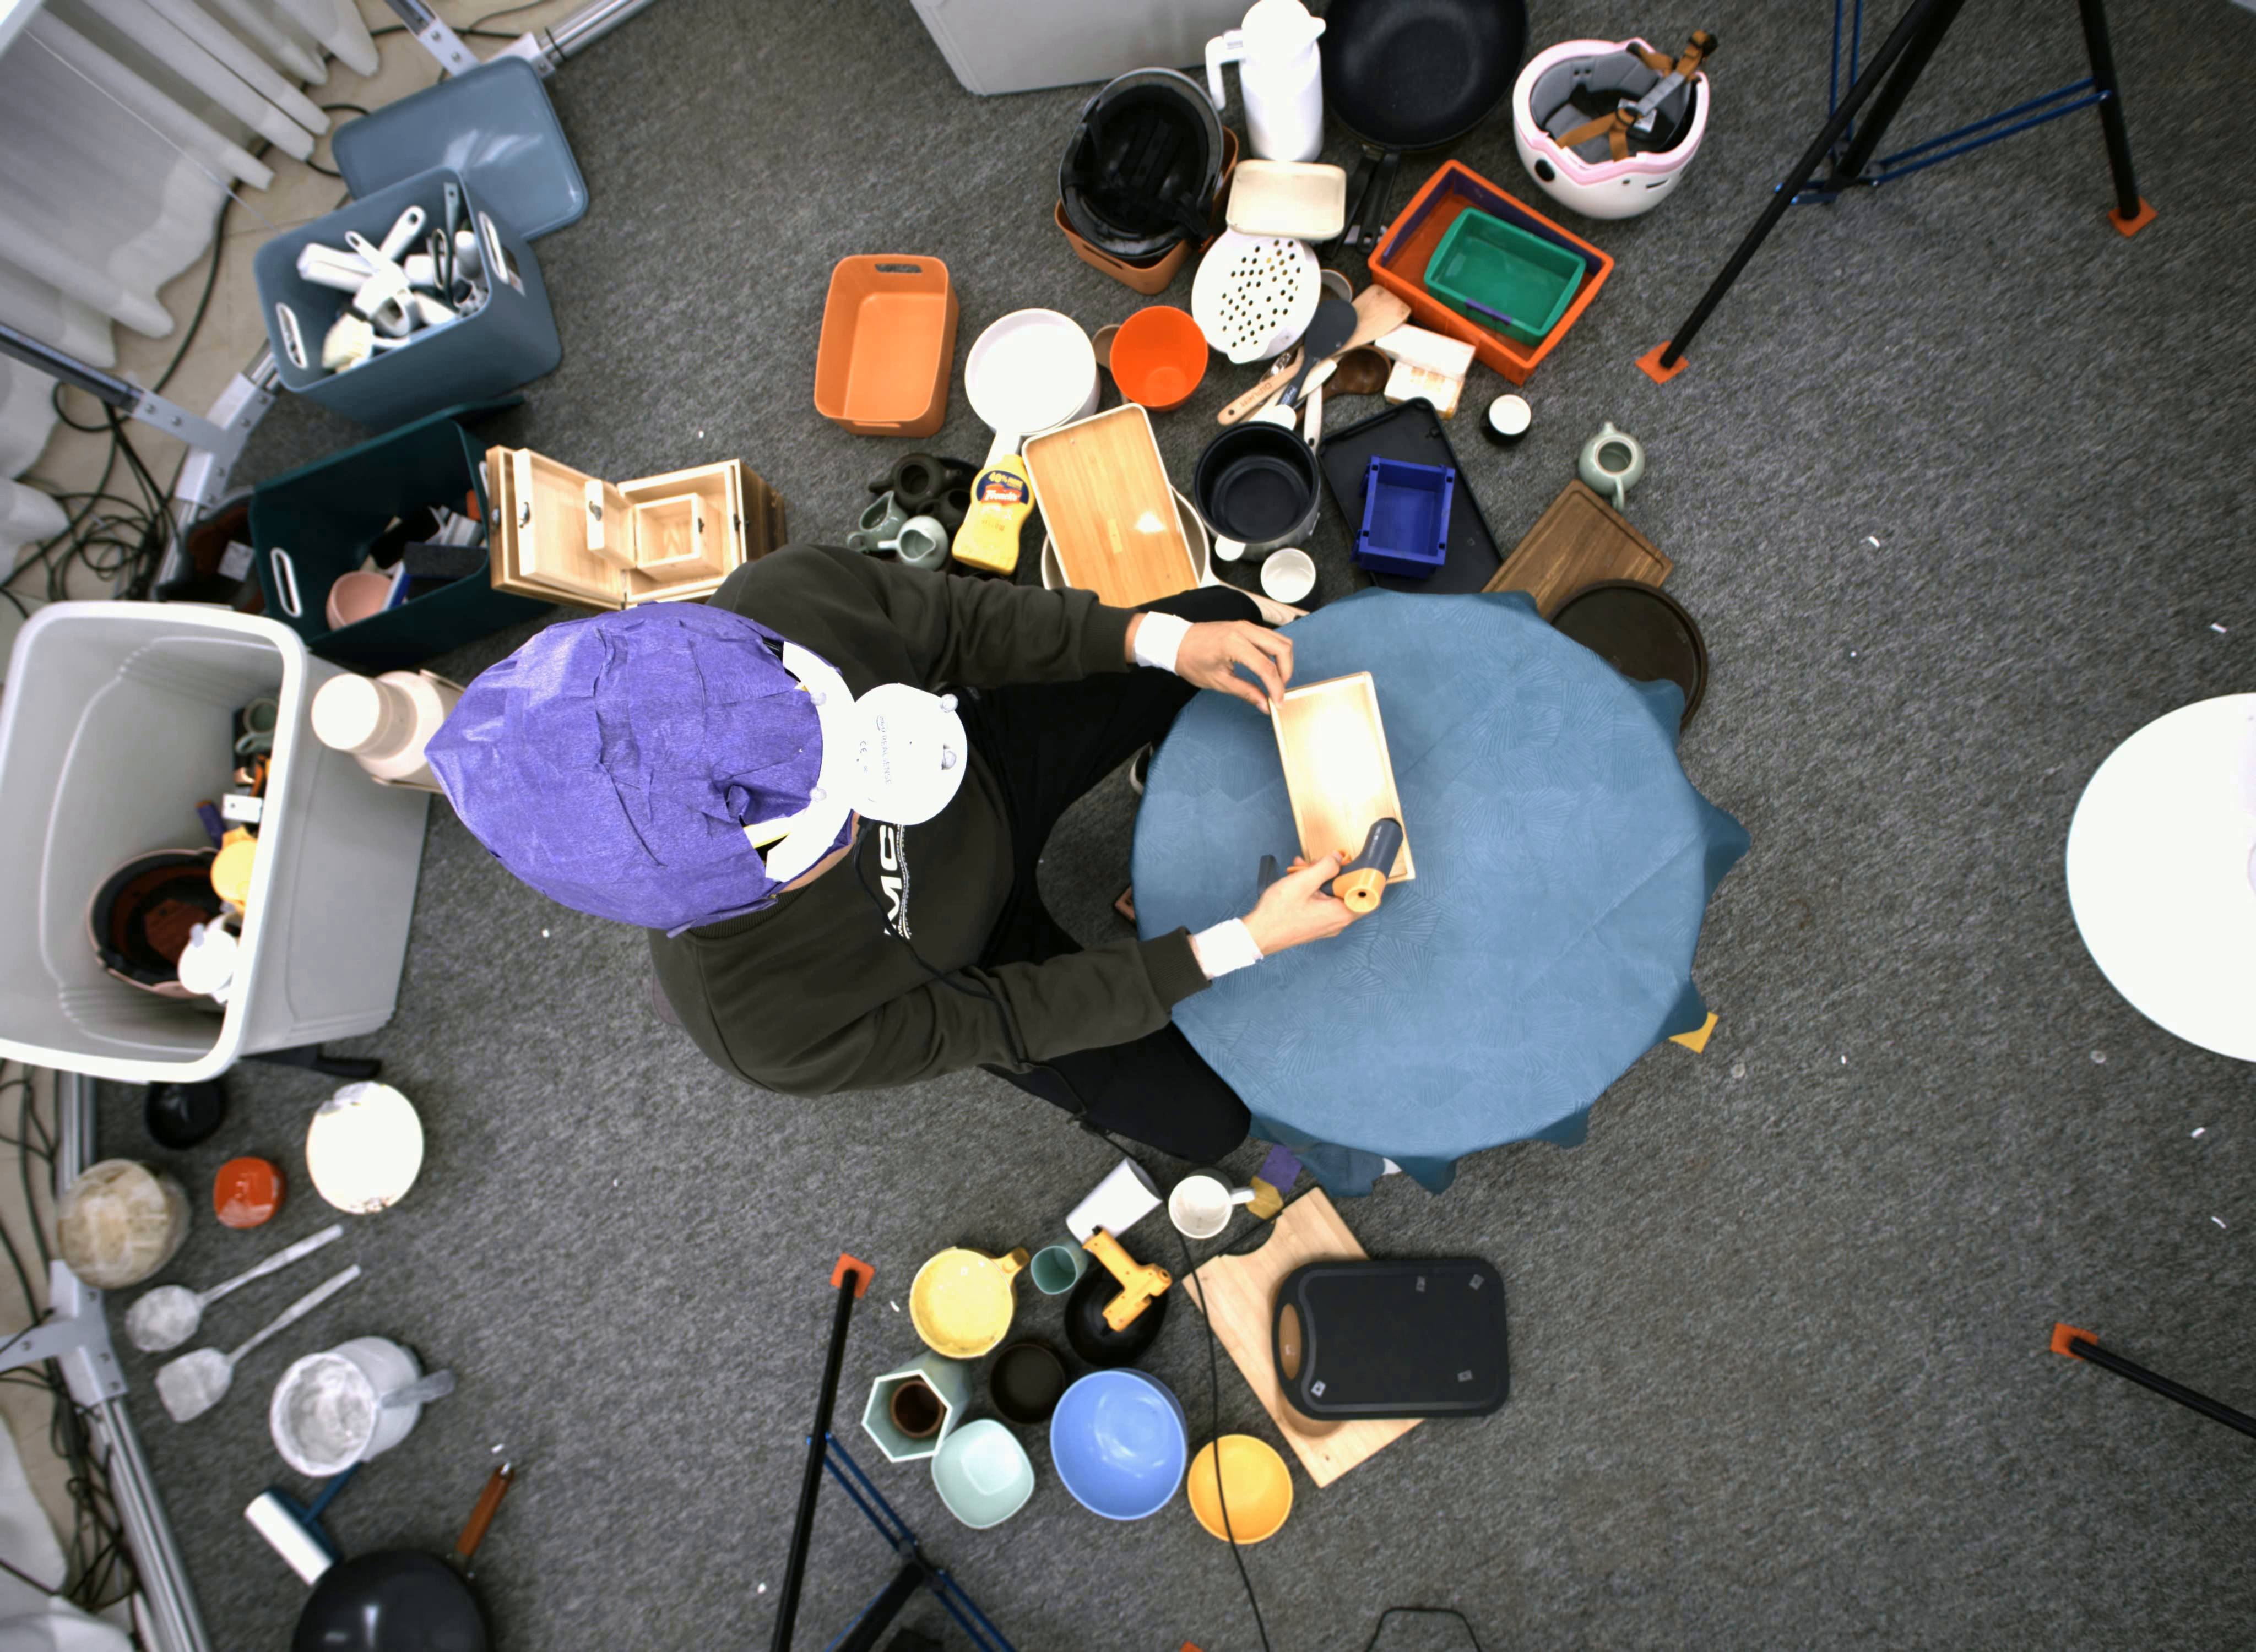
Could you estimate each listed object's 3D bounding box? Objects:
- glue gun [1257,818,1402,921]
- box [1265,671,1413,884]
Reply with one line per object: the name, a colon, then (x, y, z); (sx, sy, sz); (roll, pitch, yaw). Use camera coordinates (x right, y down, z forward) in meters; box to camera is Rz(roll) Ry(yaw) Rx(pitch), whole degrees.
glue gun: (0.200, 0.041, 1.353); (0.141, 0.115, 0.041); (-15, 122, 19)
box: (0.216, -0.044, 1.412); (0.108, 0.079, 0.212); (-13, 98, 10)
